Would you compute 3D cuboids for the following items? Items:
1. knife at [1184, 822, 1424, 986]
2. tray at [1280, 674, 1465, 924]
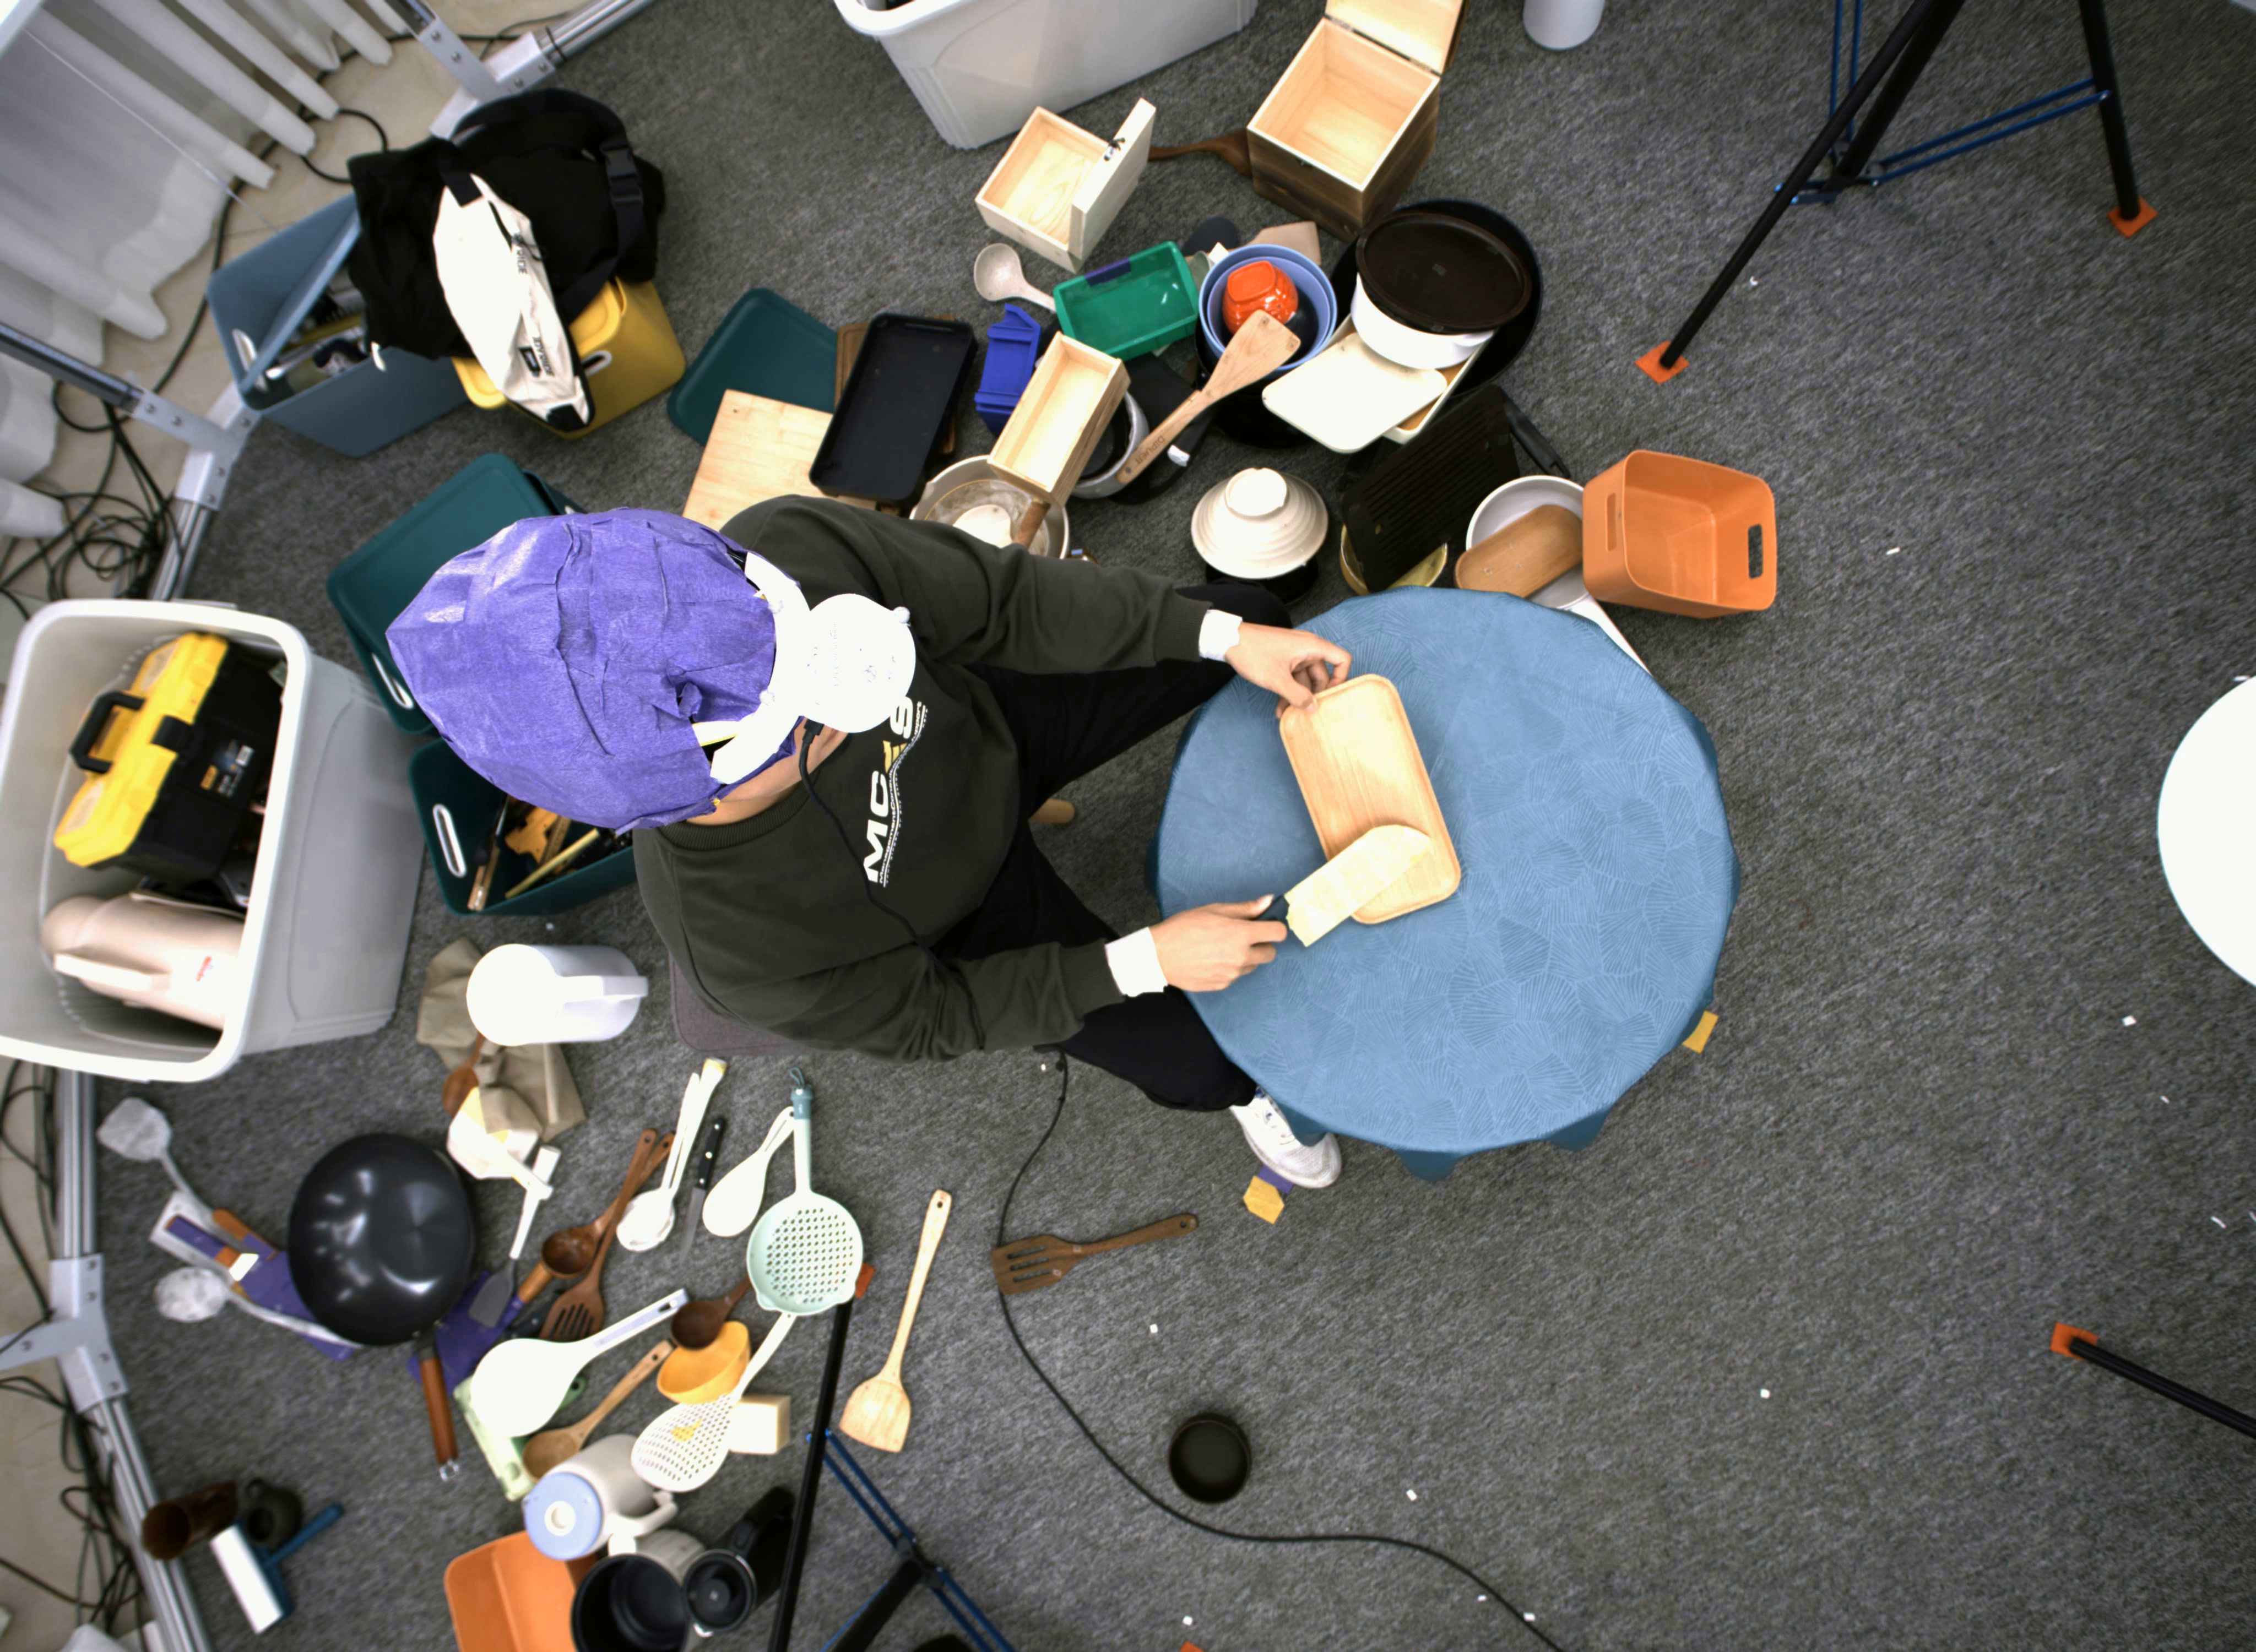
[{"bbox_3d":[0.185,0.085,1.432,0.291,0.027,0.082,-34,121,7],"label":"knife"},{"bbox_3d":[0.253,-0.028,1.424,0.131,0.022,0.252,-20,102,11],"label":"tray"}]
